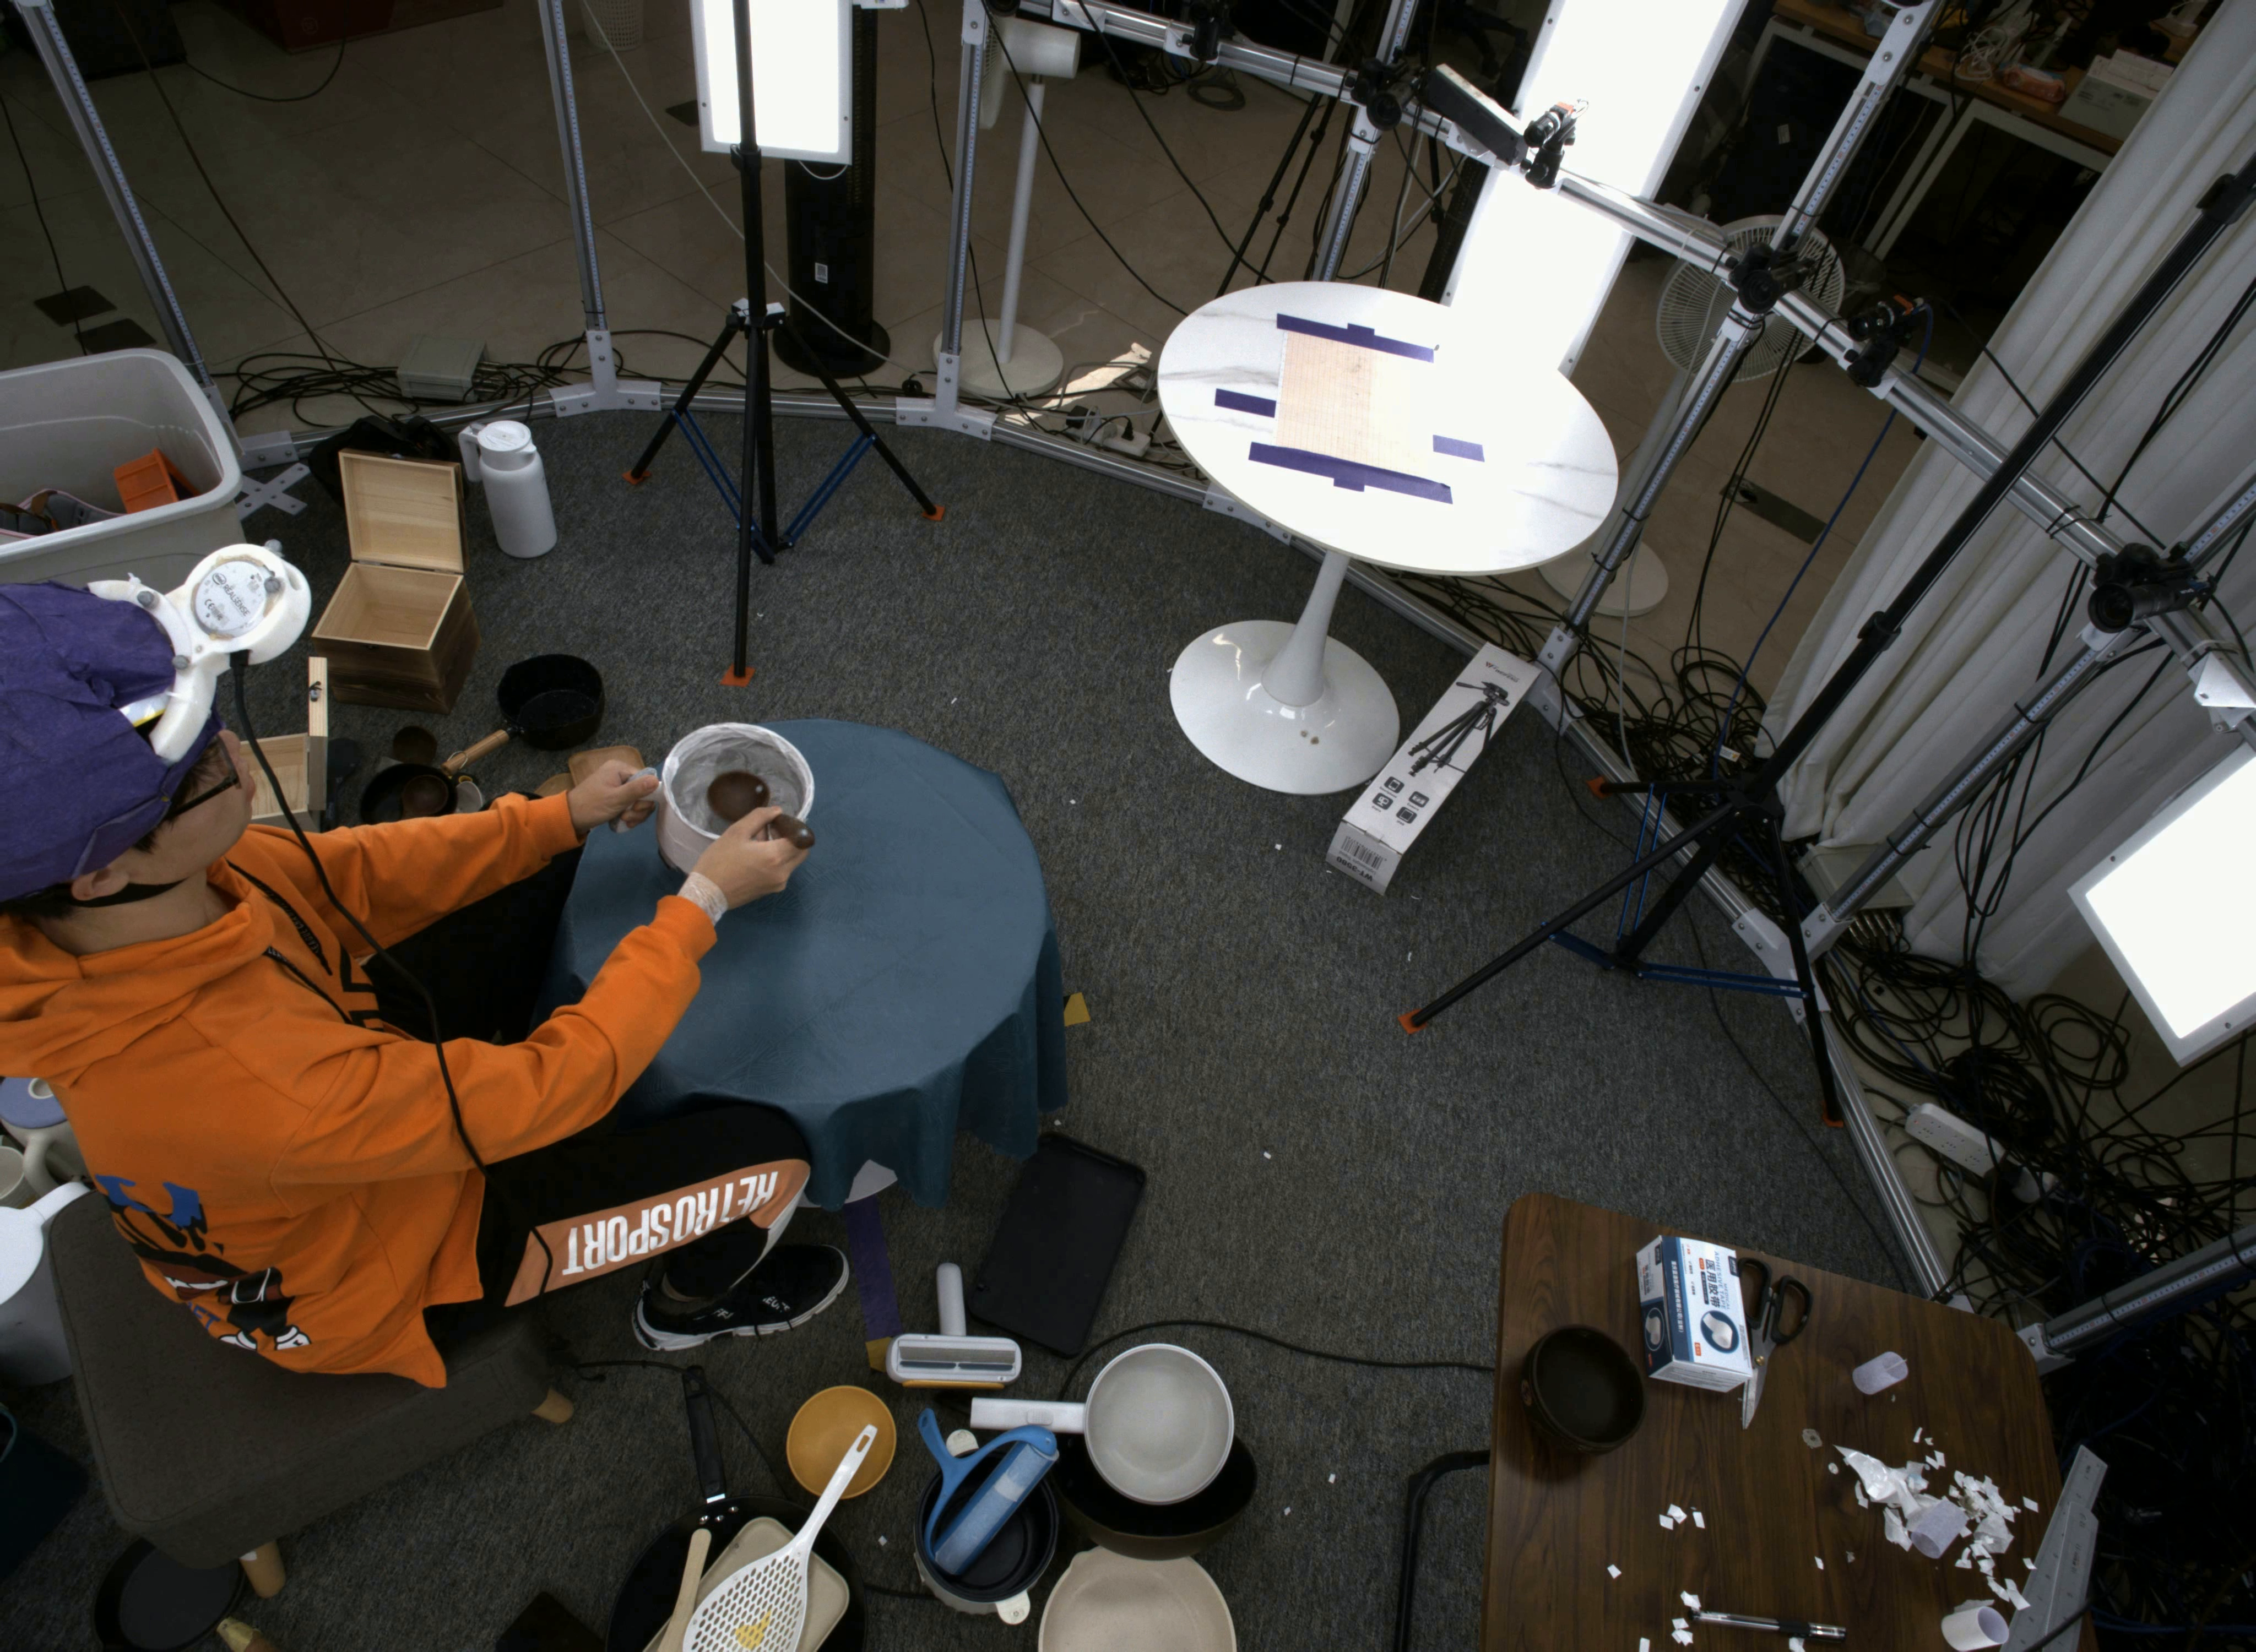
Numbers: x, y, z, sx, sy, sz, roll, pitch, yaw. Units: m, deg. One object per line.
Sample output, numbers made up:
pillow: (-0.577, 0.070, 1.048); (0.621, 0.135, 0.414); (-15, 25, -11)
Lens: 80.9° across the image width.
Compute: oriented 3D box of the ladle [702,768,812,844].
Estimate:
ladle: (-0.420, -0.025, 1.474); (0.077, 0.067, 0.251); (-25, 19, -29)

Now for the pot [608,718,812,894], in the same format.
pot: (-0.506, -0.022, 1.550); (0.236, 0.138, 0.175); (4, 55, -24)
